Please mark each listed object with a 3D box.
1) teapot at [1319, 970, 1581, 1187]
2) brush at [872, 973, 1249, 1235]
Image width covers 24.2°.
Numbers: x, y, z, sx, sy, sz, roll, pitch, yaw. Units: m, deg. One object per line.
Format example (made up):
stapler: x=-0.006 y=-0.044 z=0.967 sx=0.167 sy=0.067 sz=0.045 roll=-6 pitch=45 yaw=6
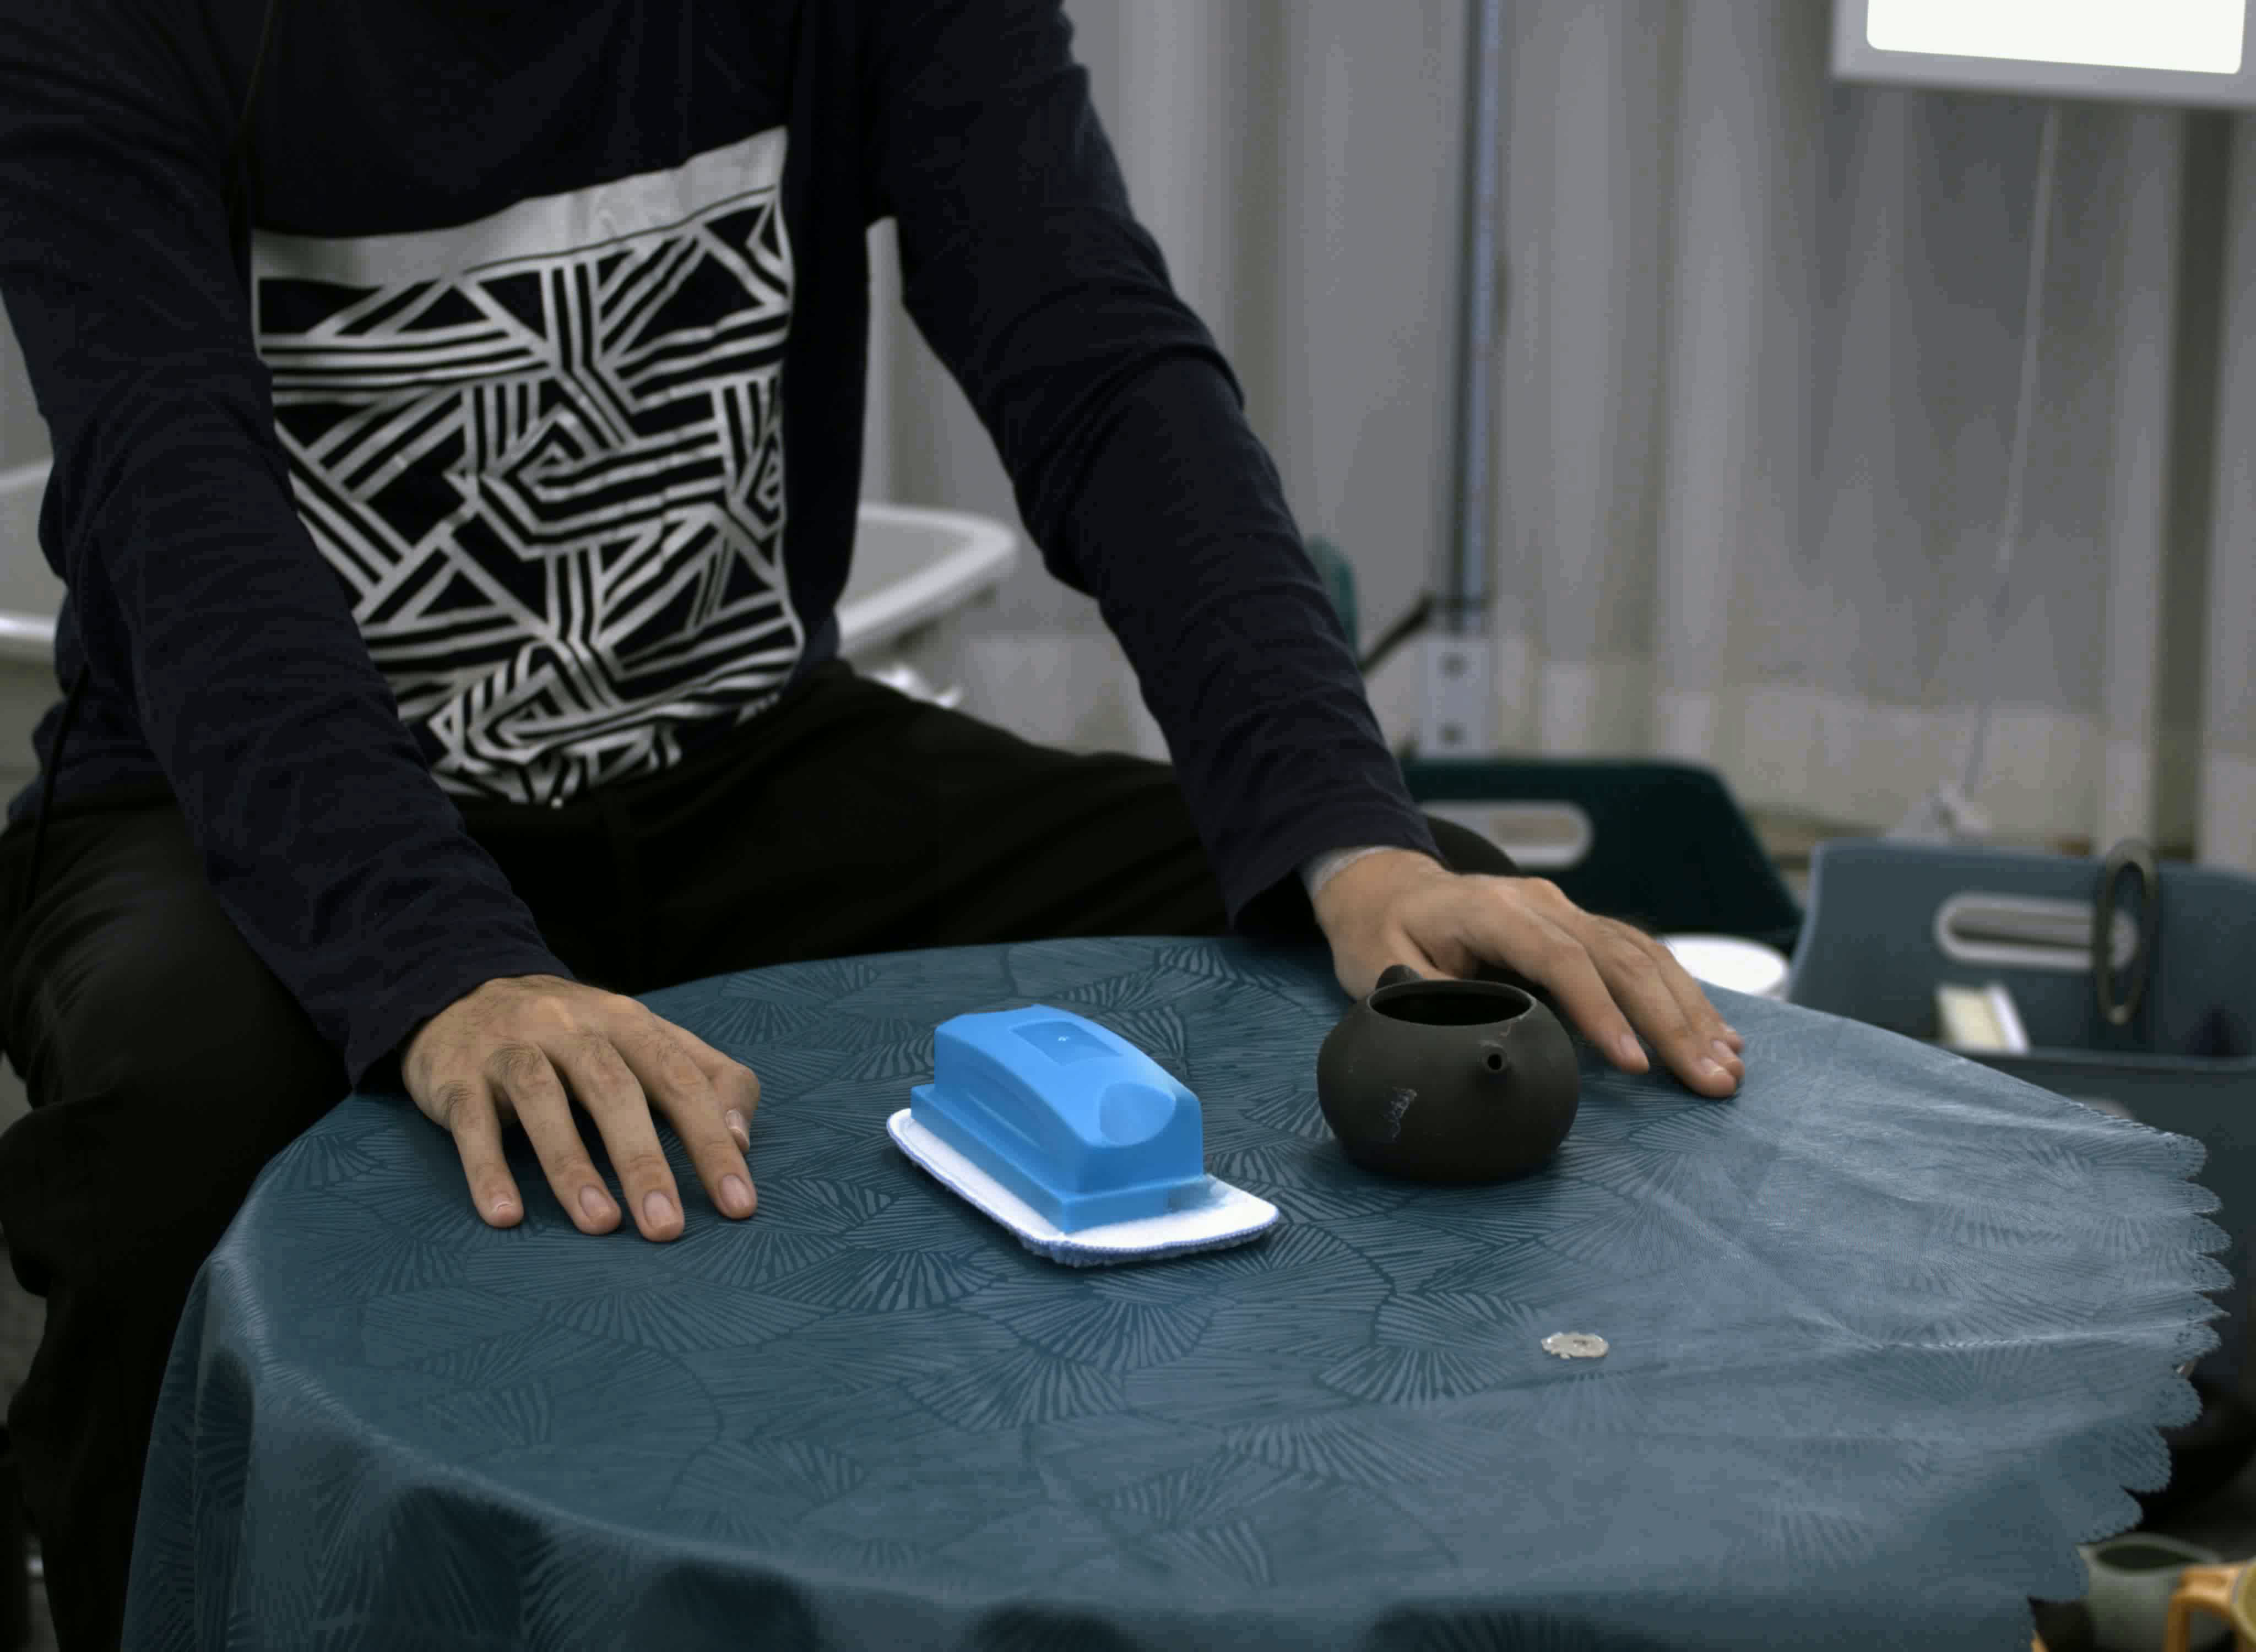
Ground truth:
teapot: x=0.099 y=0.077 z=1.665 sx=0.083 sy=0.053 sz=0.113 roll=1 pitch=17 yaw=-12
brush: x=-0.020 y=0.083 z=1.619 sx=0.084 sy=0.056 sz=0.142 roll=-2 pitch=17 yaw=-23
